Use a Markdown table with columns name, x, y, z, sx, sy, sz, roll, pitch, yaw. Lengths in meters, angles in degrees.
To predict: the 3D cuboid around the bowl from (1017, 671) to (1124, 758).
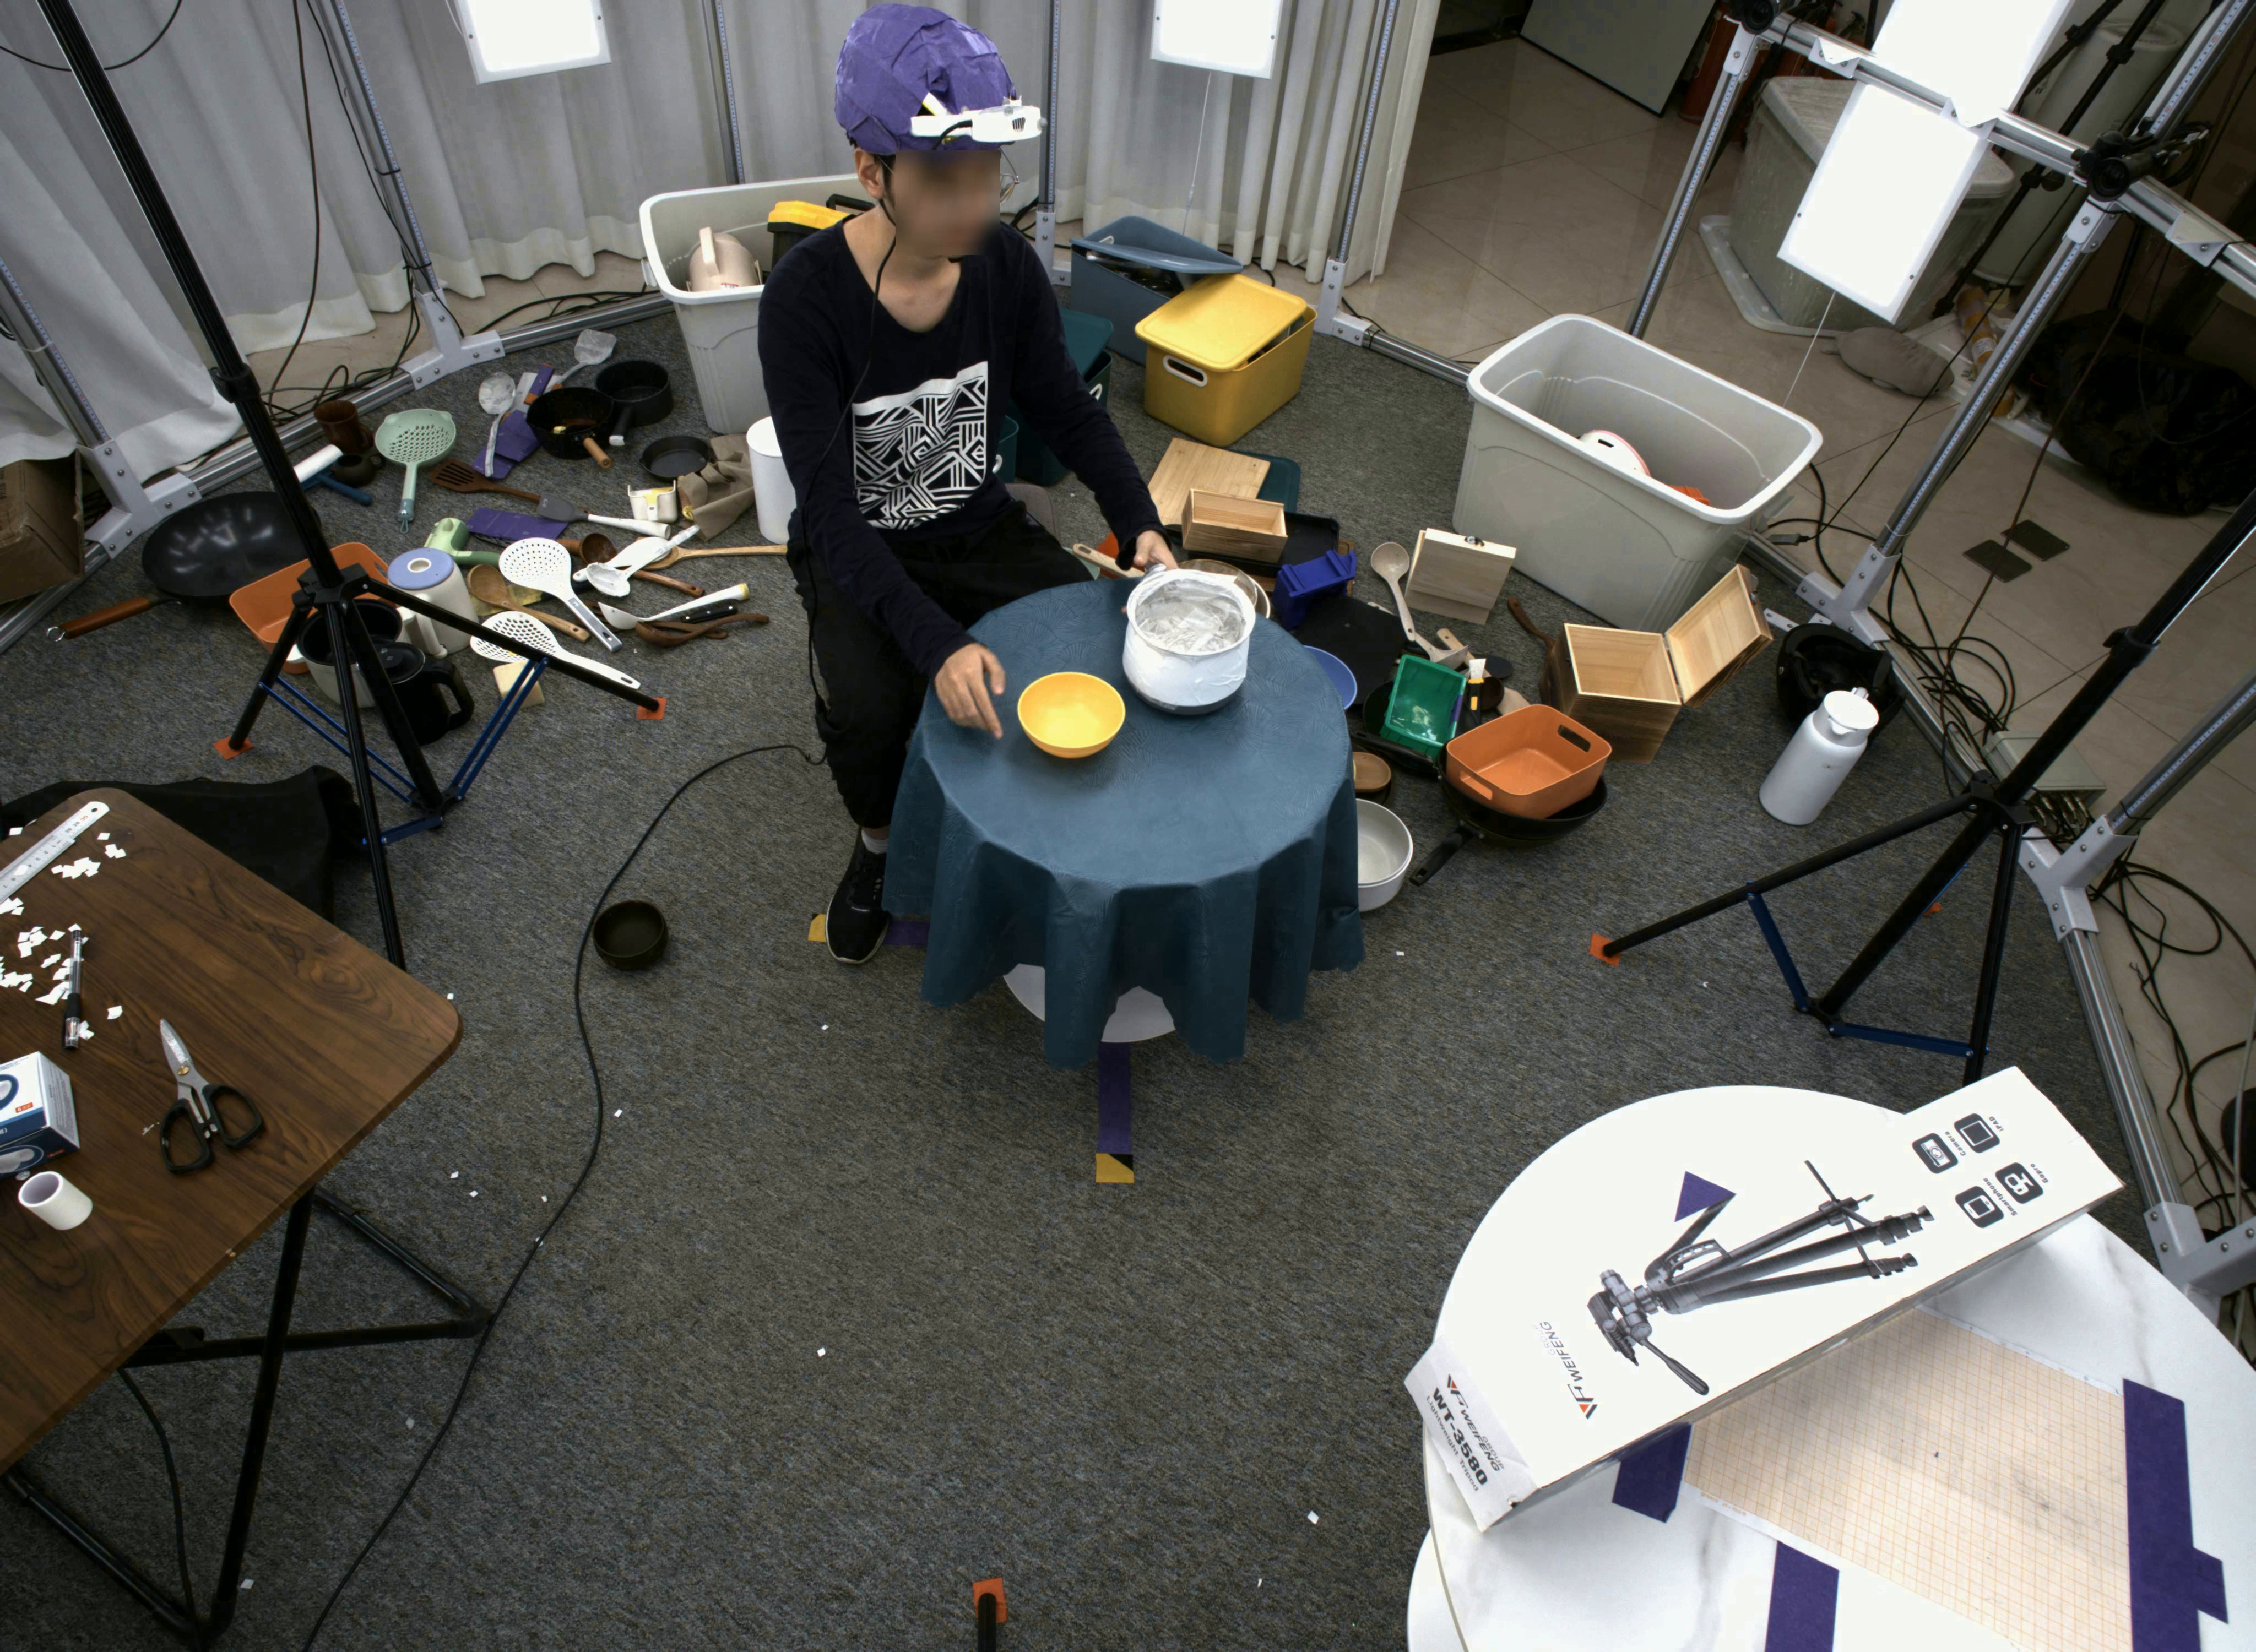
| name | x | y | z | sx | sy | sz | roll | pitch | yaw |
| --- | --- | --- | --- | --- | --- | --- | --- | --- | --- |
| bowl | -0.080 | -0.141 | 1.743 | 0.145 | 0.059 | 0.149 | 3 | 50 | -4 |

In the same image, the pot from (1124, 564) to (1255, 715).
| name | x | y | z | sx | sy | sz | roll | pitch | yaw |
| --- | --- | --- | --- | --- | --- | --- | --- | --- | --- |
| pot | 0.072 | -0.274 | 1.824 | 0.179 | 0.133 | 0.239 | -17 | 51 | -18 |
